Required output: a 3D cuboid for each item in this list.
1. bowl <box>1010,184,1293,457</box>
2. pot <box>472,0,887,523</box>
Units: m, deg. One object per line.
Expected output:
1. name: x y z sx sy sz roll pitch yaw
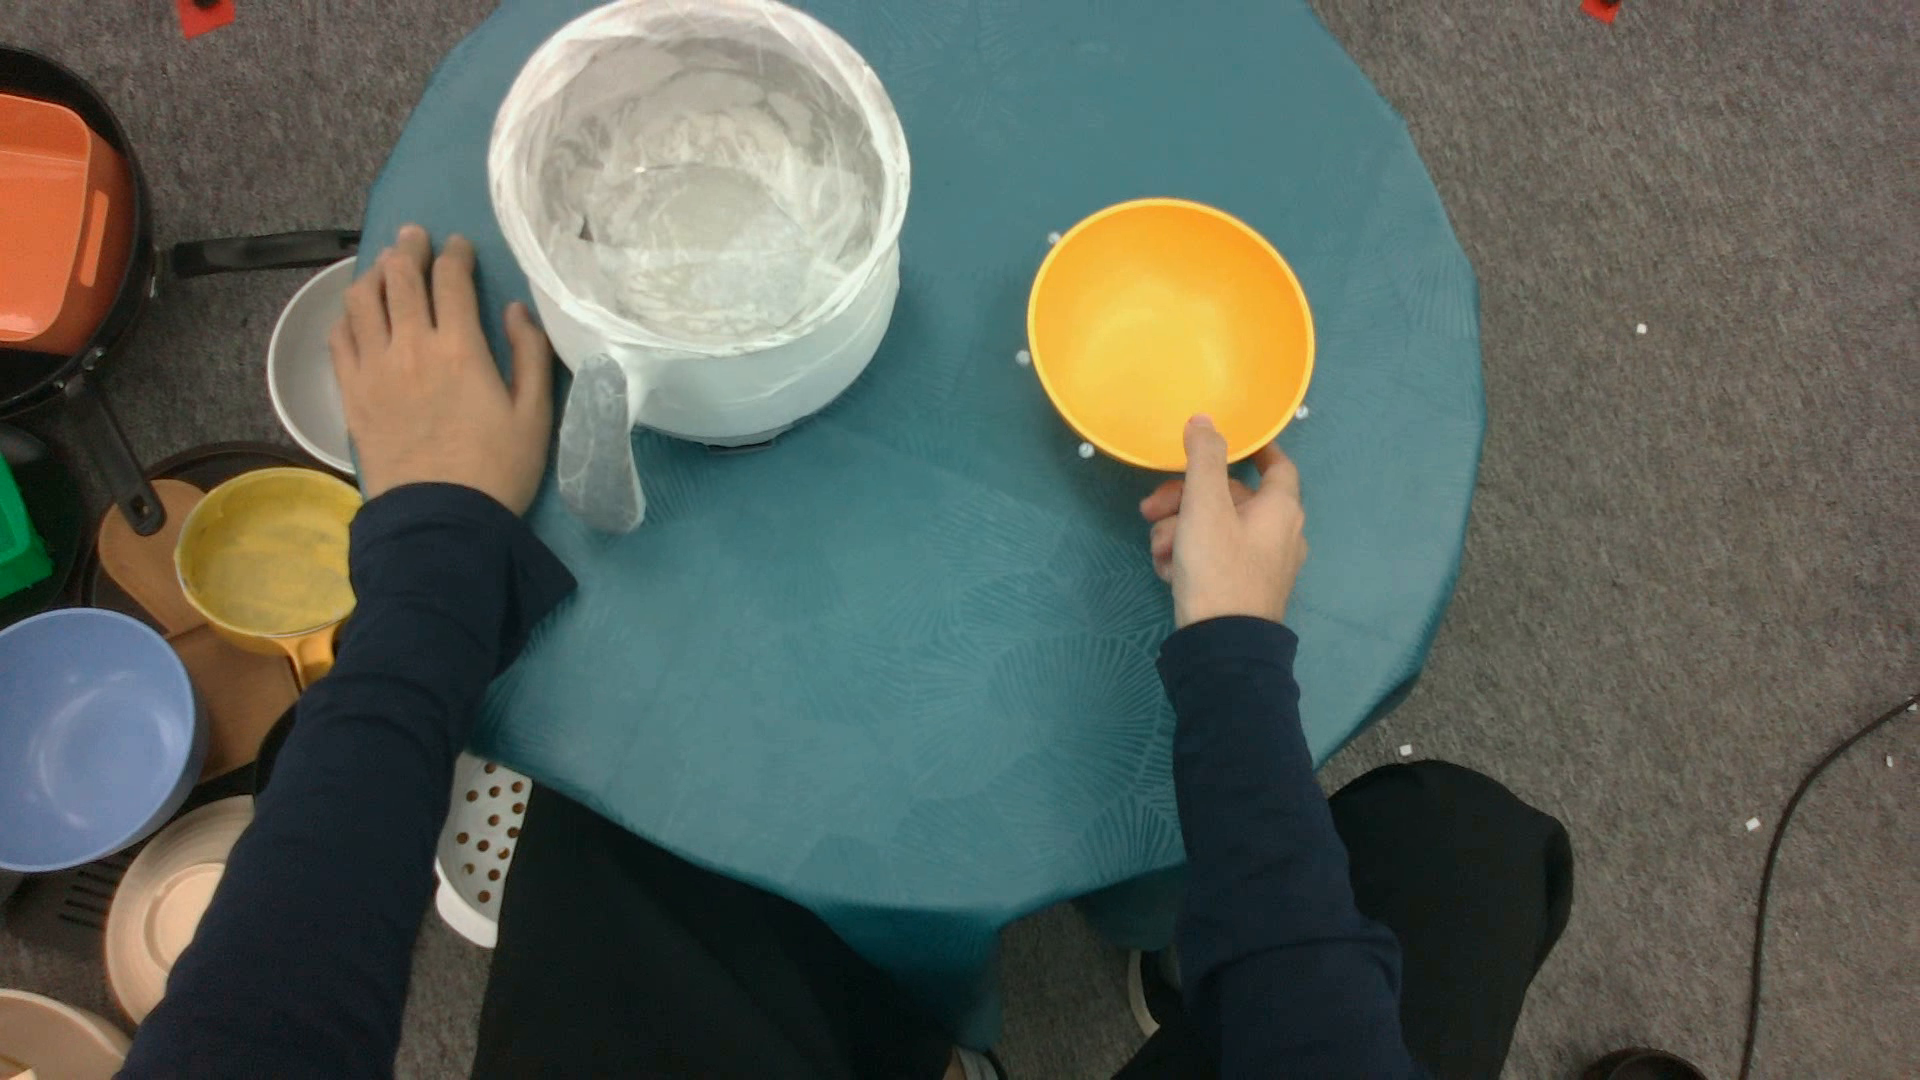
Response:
1. bowl: 0.092 -0.104 0.709 0.145 0.060 0.145 2 76 -8
2. pot: -0.134 -0.125 0.645 0.179 0.136 0.234 19 72 1
